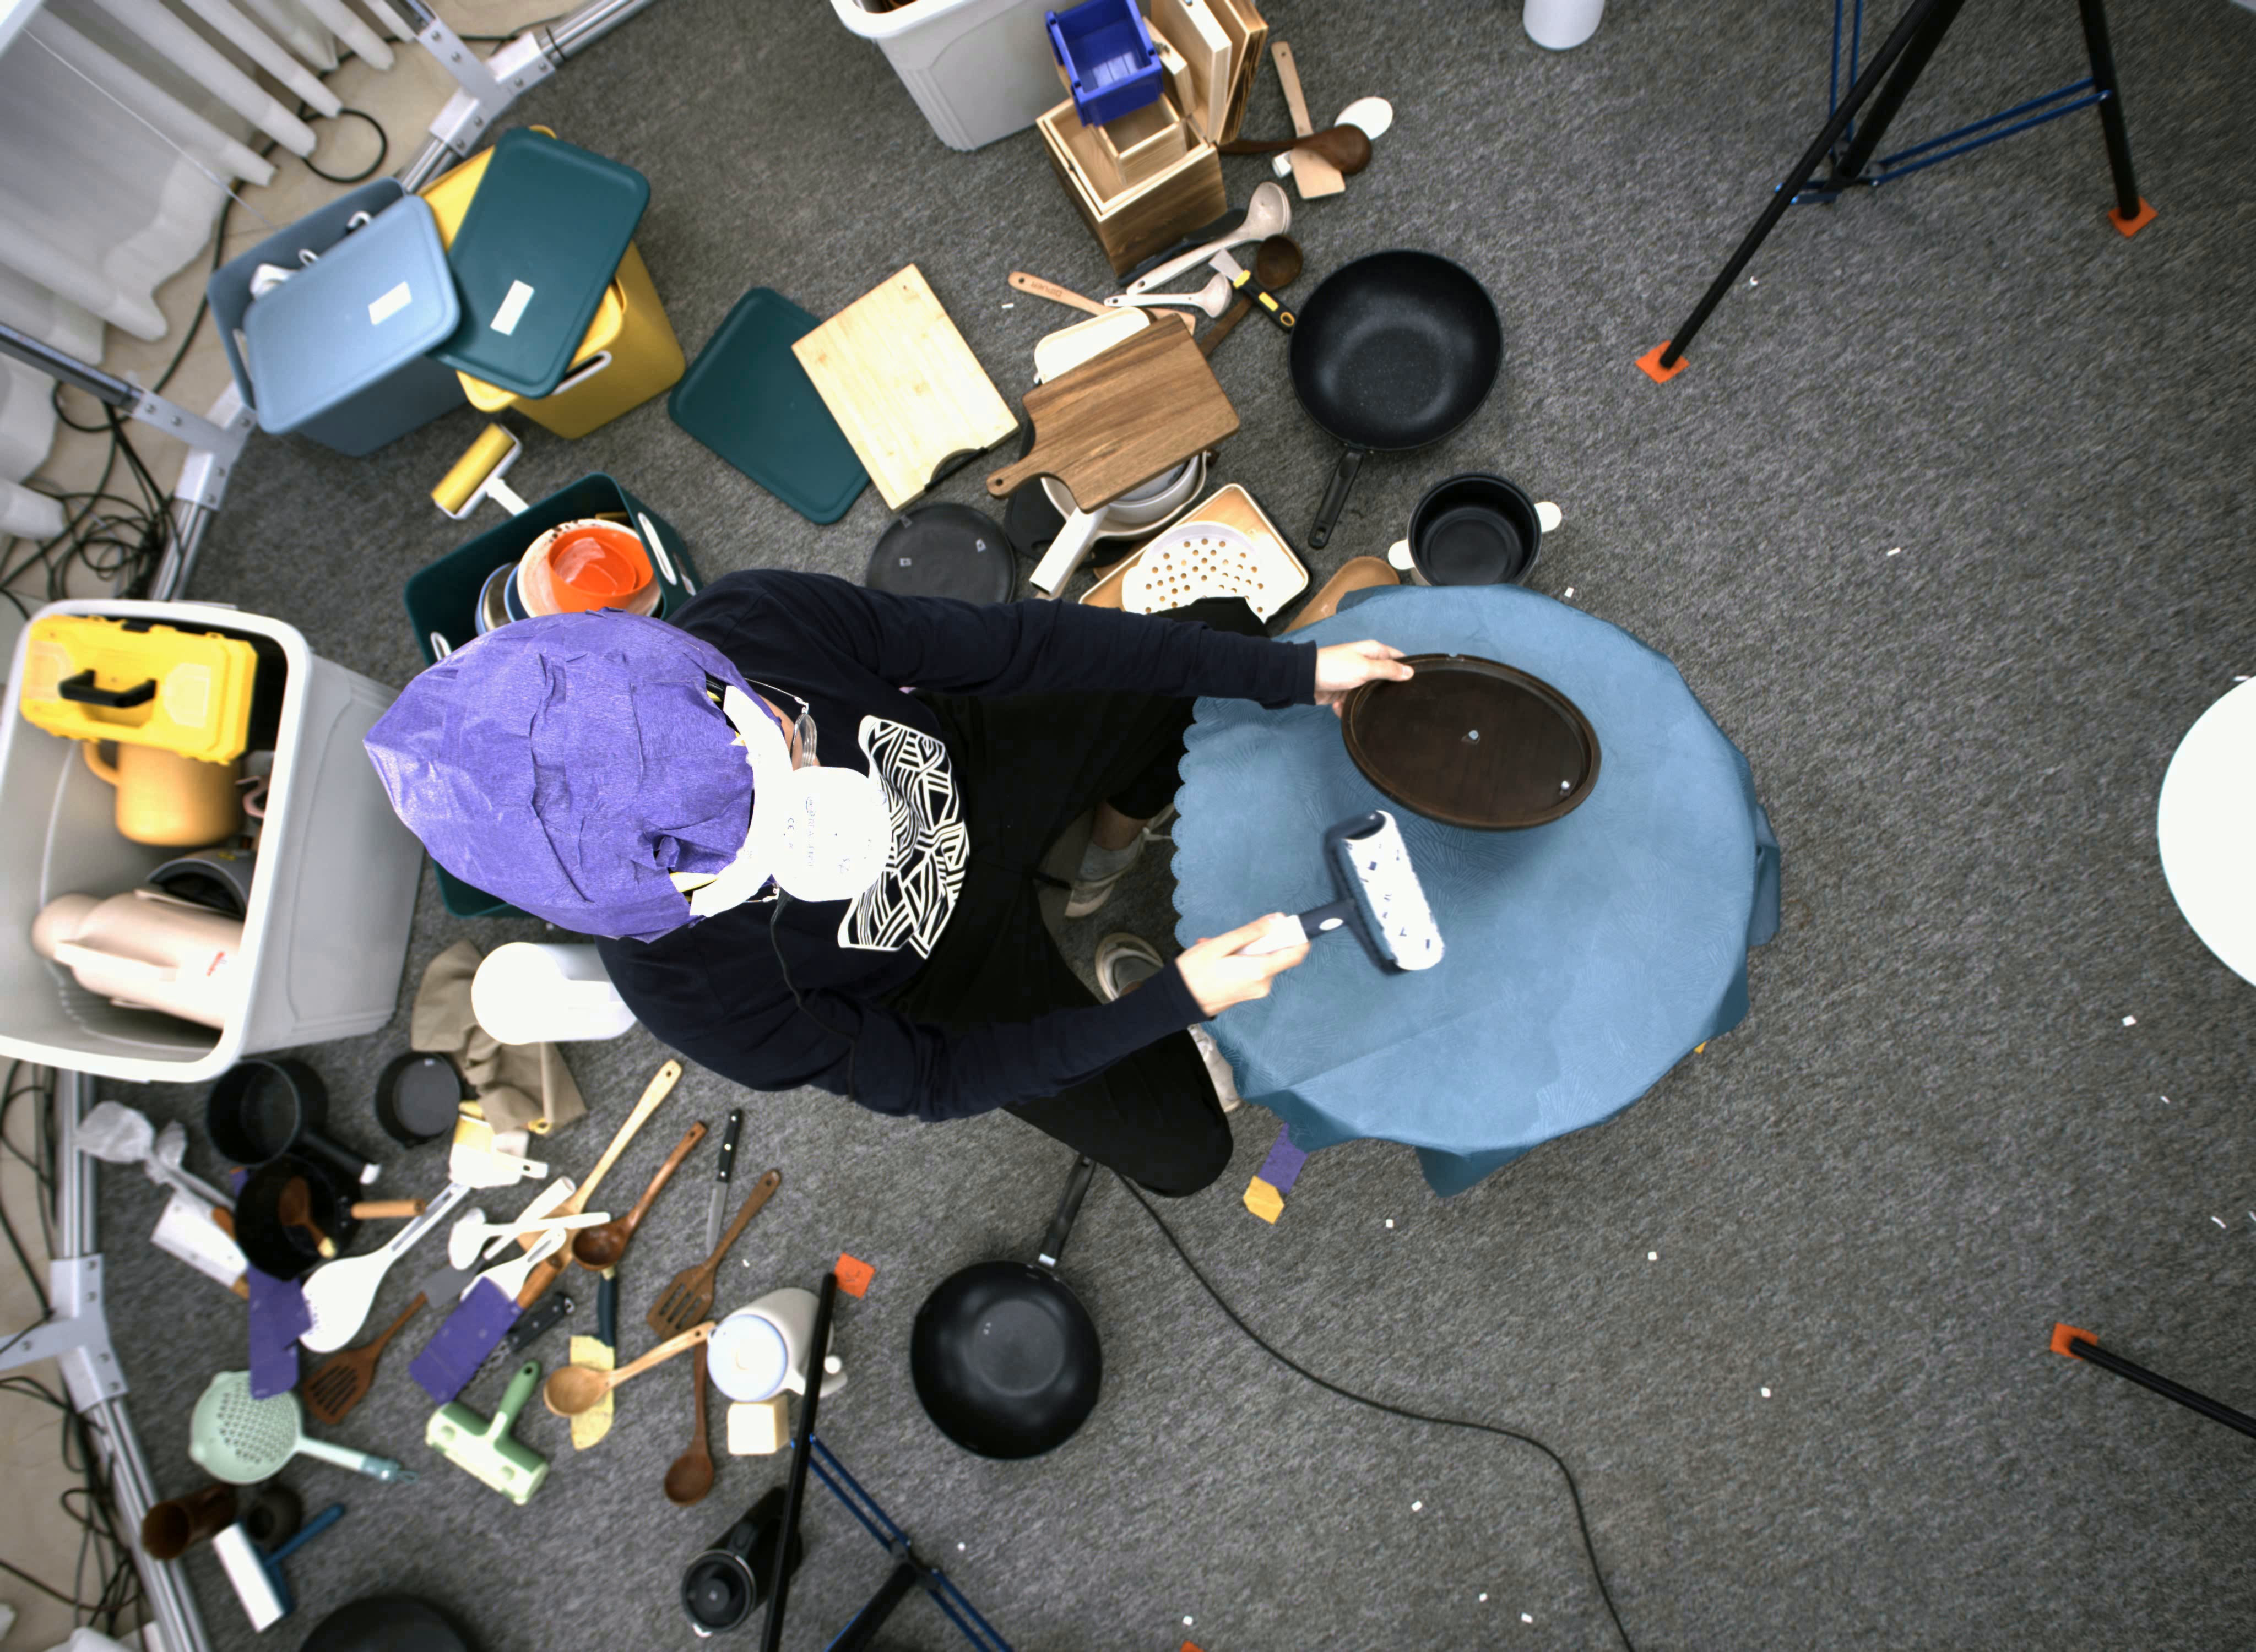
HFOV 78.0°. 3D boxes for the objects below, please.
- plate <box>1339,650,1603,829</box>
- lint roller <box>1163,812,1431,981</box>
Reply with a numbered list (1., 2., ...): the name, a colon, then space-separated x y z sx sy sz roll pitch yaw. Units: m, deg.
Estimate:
1. plate: 0.331 -0.089 1.330 0.255 0.030 0.248 0 45 0
2. lint roller: 0.150 0.101 1.317 0.249 0.049 0.179 -24 121 10
